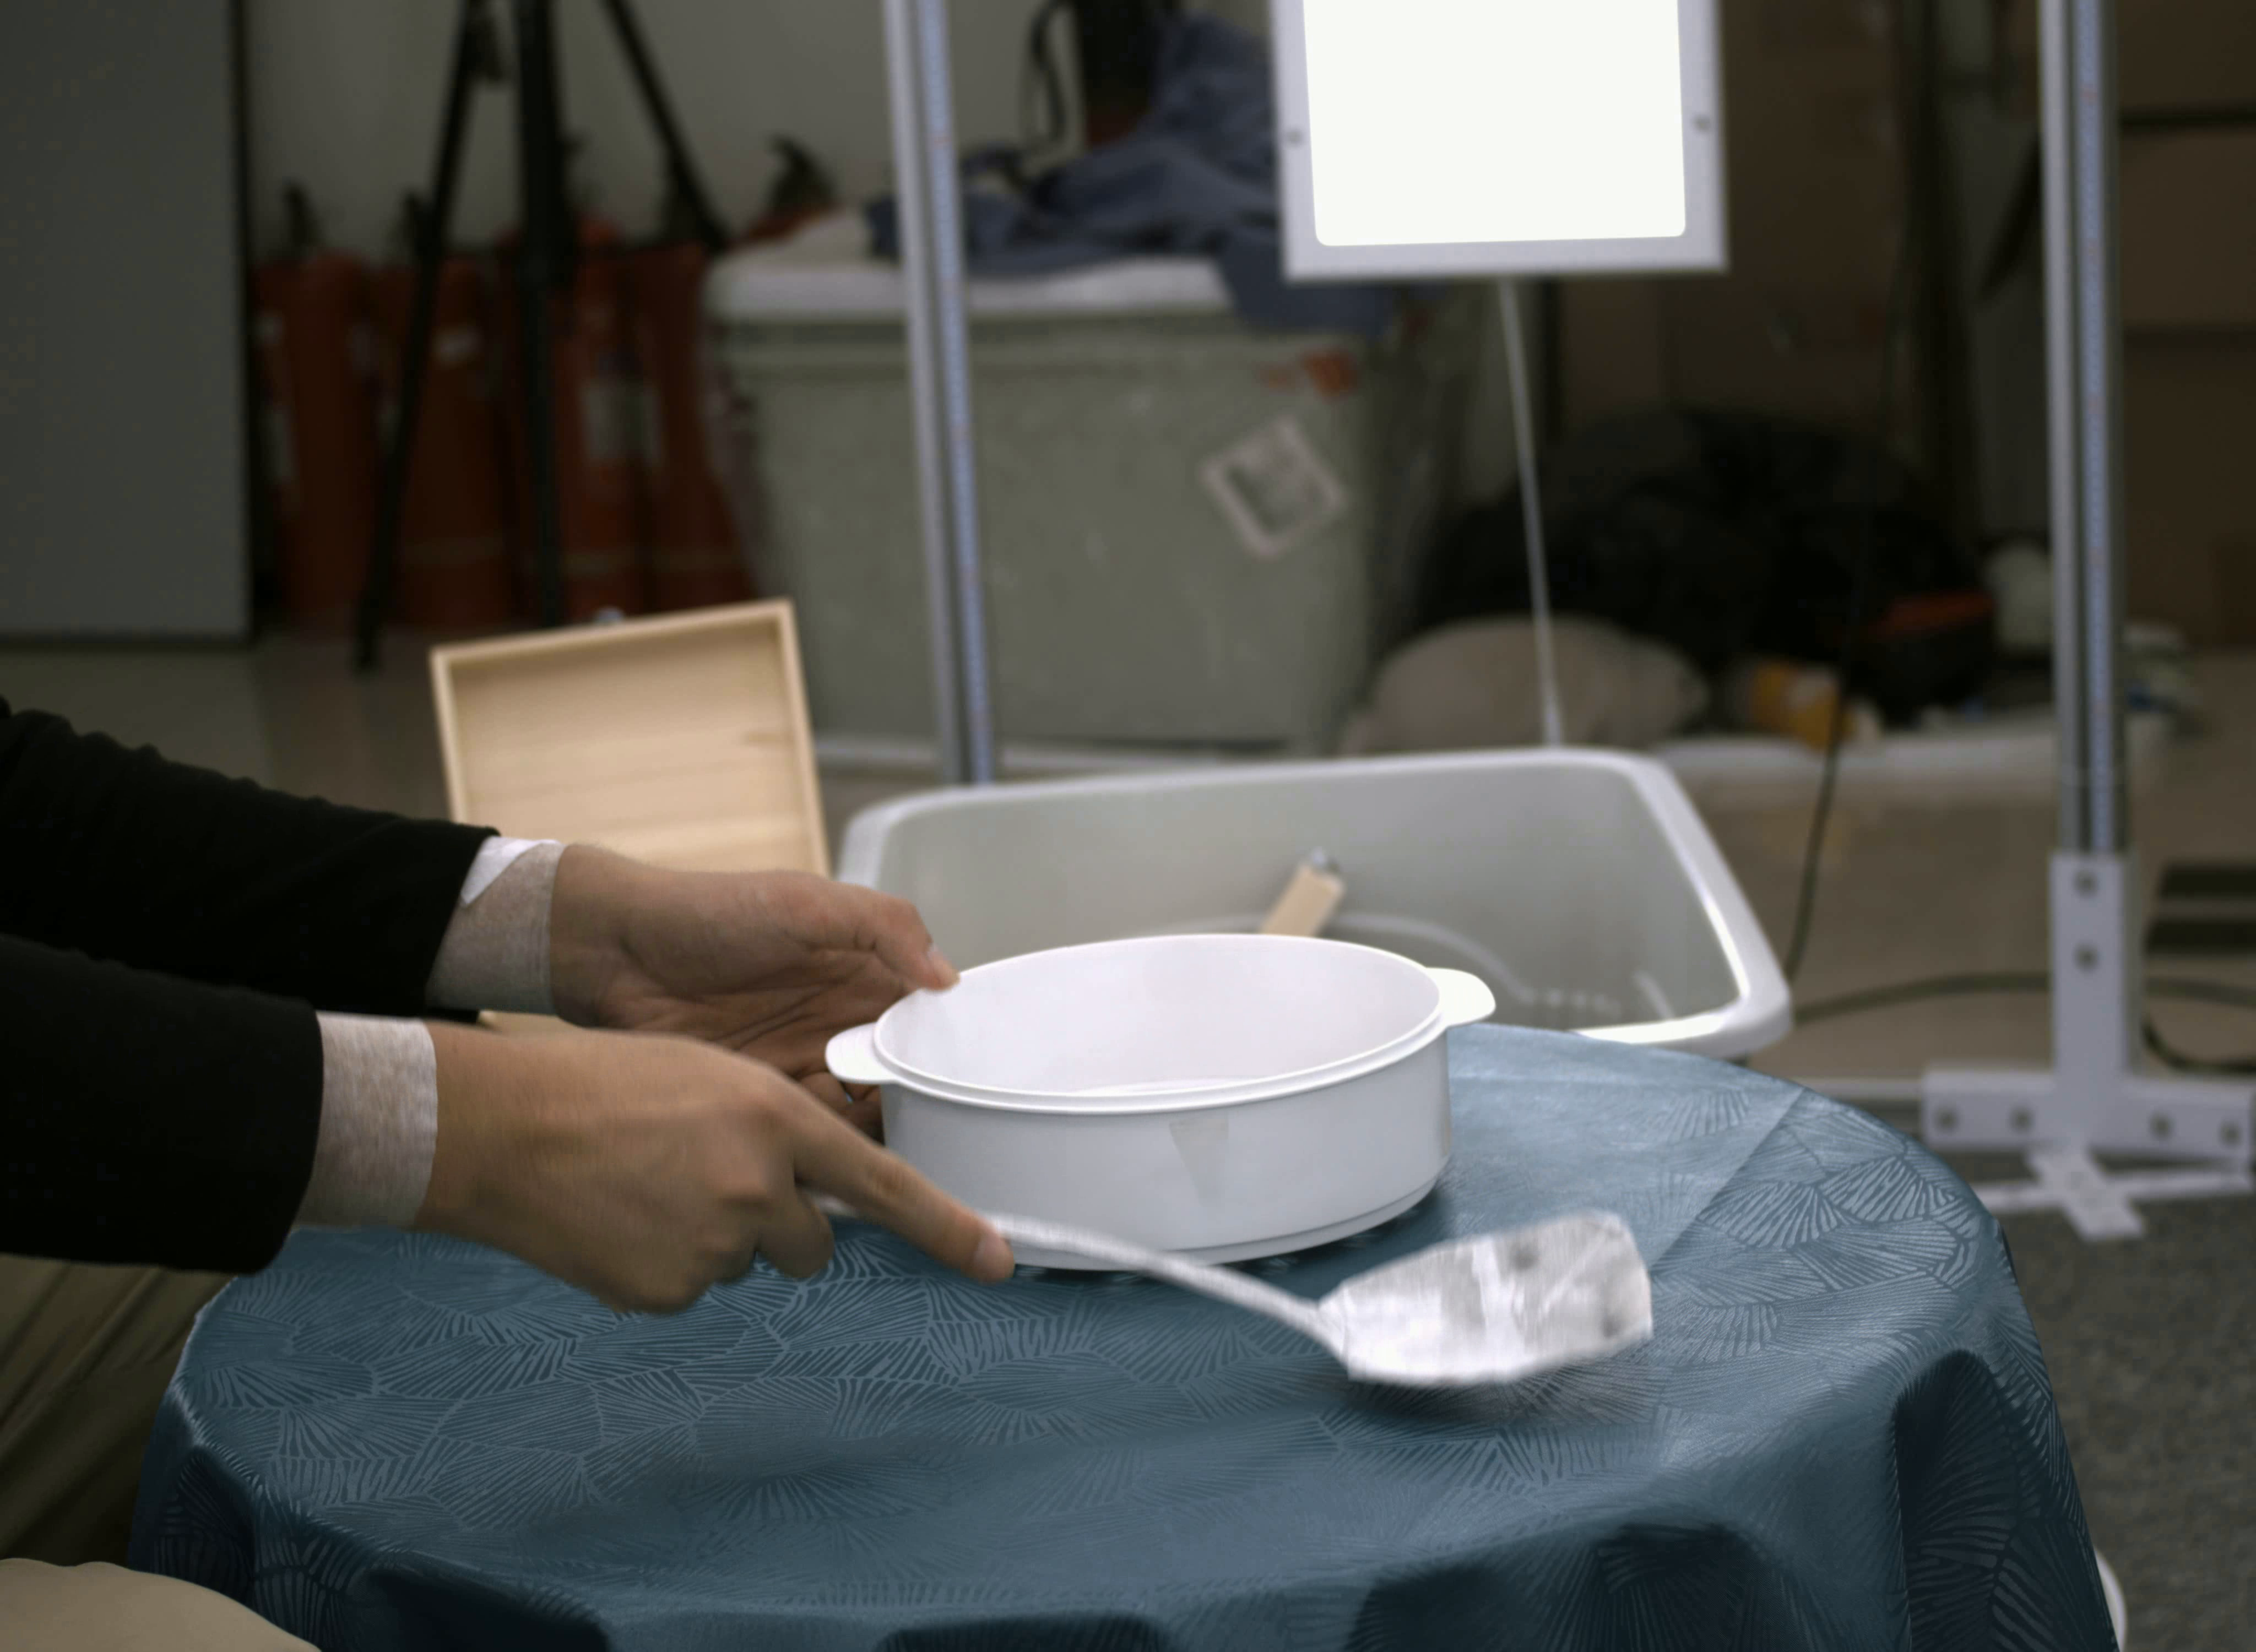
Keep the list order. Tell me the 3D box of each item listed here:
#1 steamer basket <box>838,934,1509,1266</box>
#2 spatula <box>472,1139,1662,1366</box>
[{"bbox_3d":[0.018,0.094,1.880,0.229,0.069,0.202,-7,13,-2],"label":"steamer basket"},{"bbox_3d":[-0.019,0.118,1.679,0.363,0.045,0.098,10,22,-1],"label":"spatula"}]
